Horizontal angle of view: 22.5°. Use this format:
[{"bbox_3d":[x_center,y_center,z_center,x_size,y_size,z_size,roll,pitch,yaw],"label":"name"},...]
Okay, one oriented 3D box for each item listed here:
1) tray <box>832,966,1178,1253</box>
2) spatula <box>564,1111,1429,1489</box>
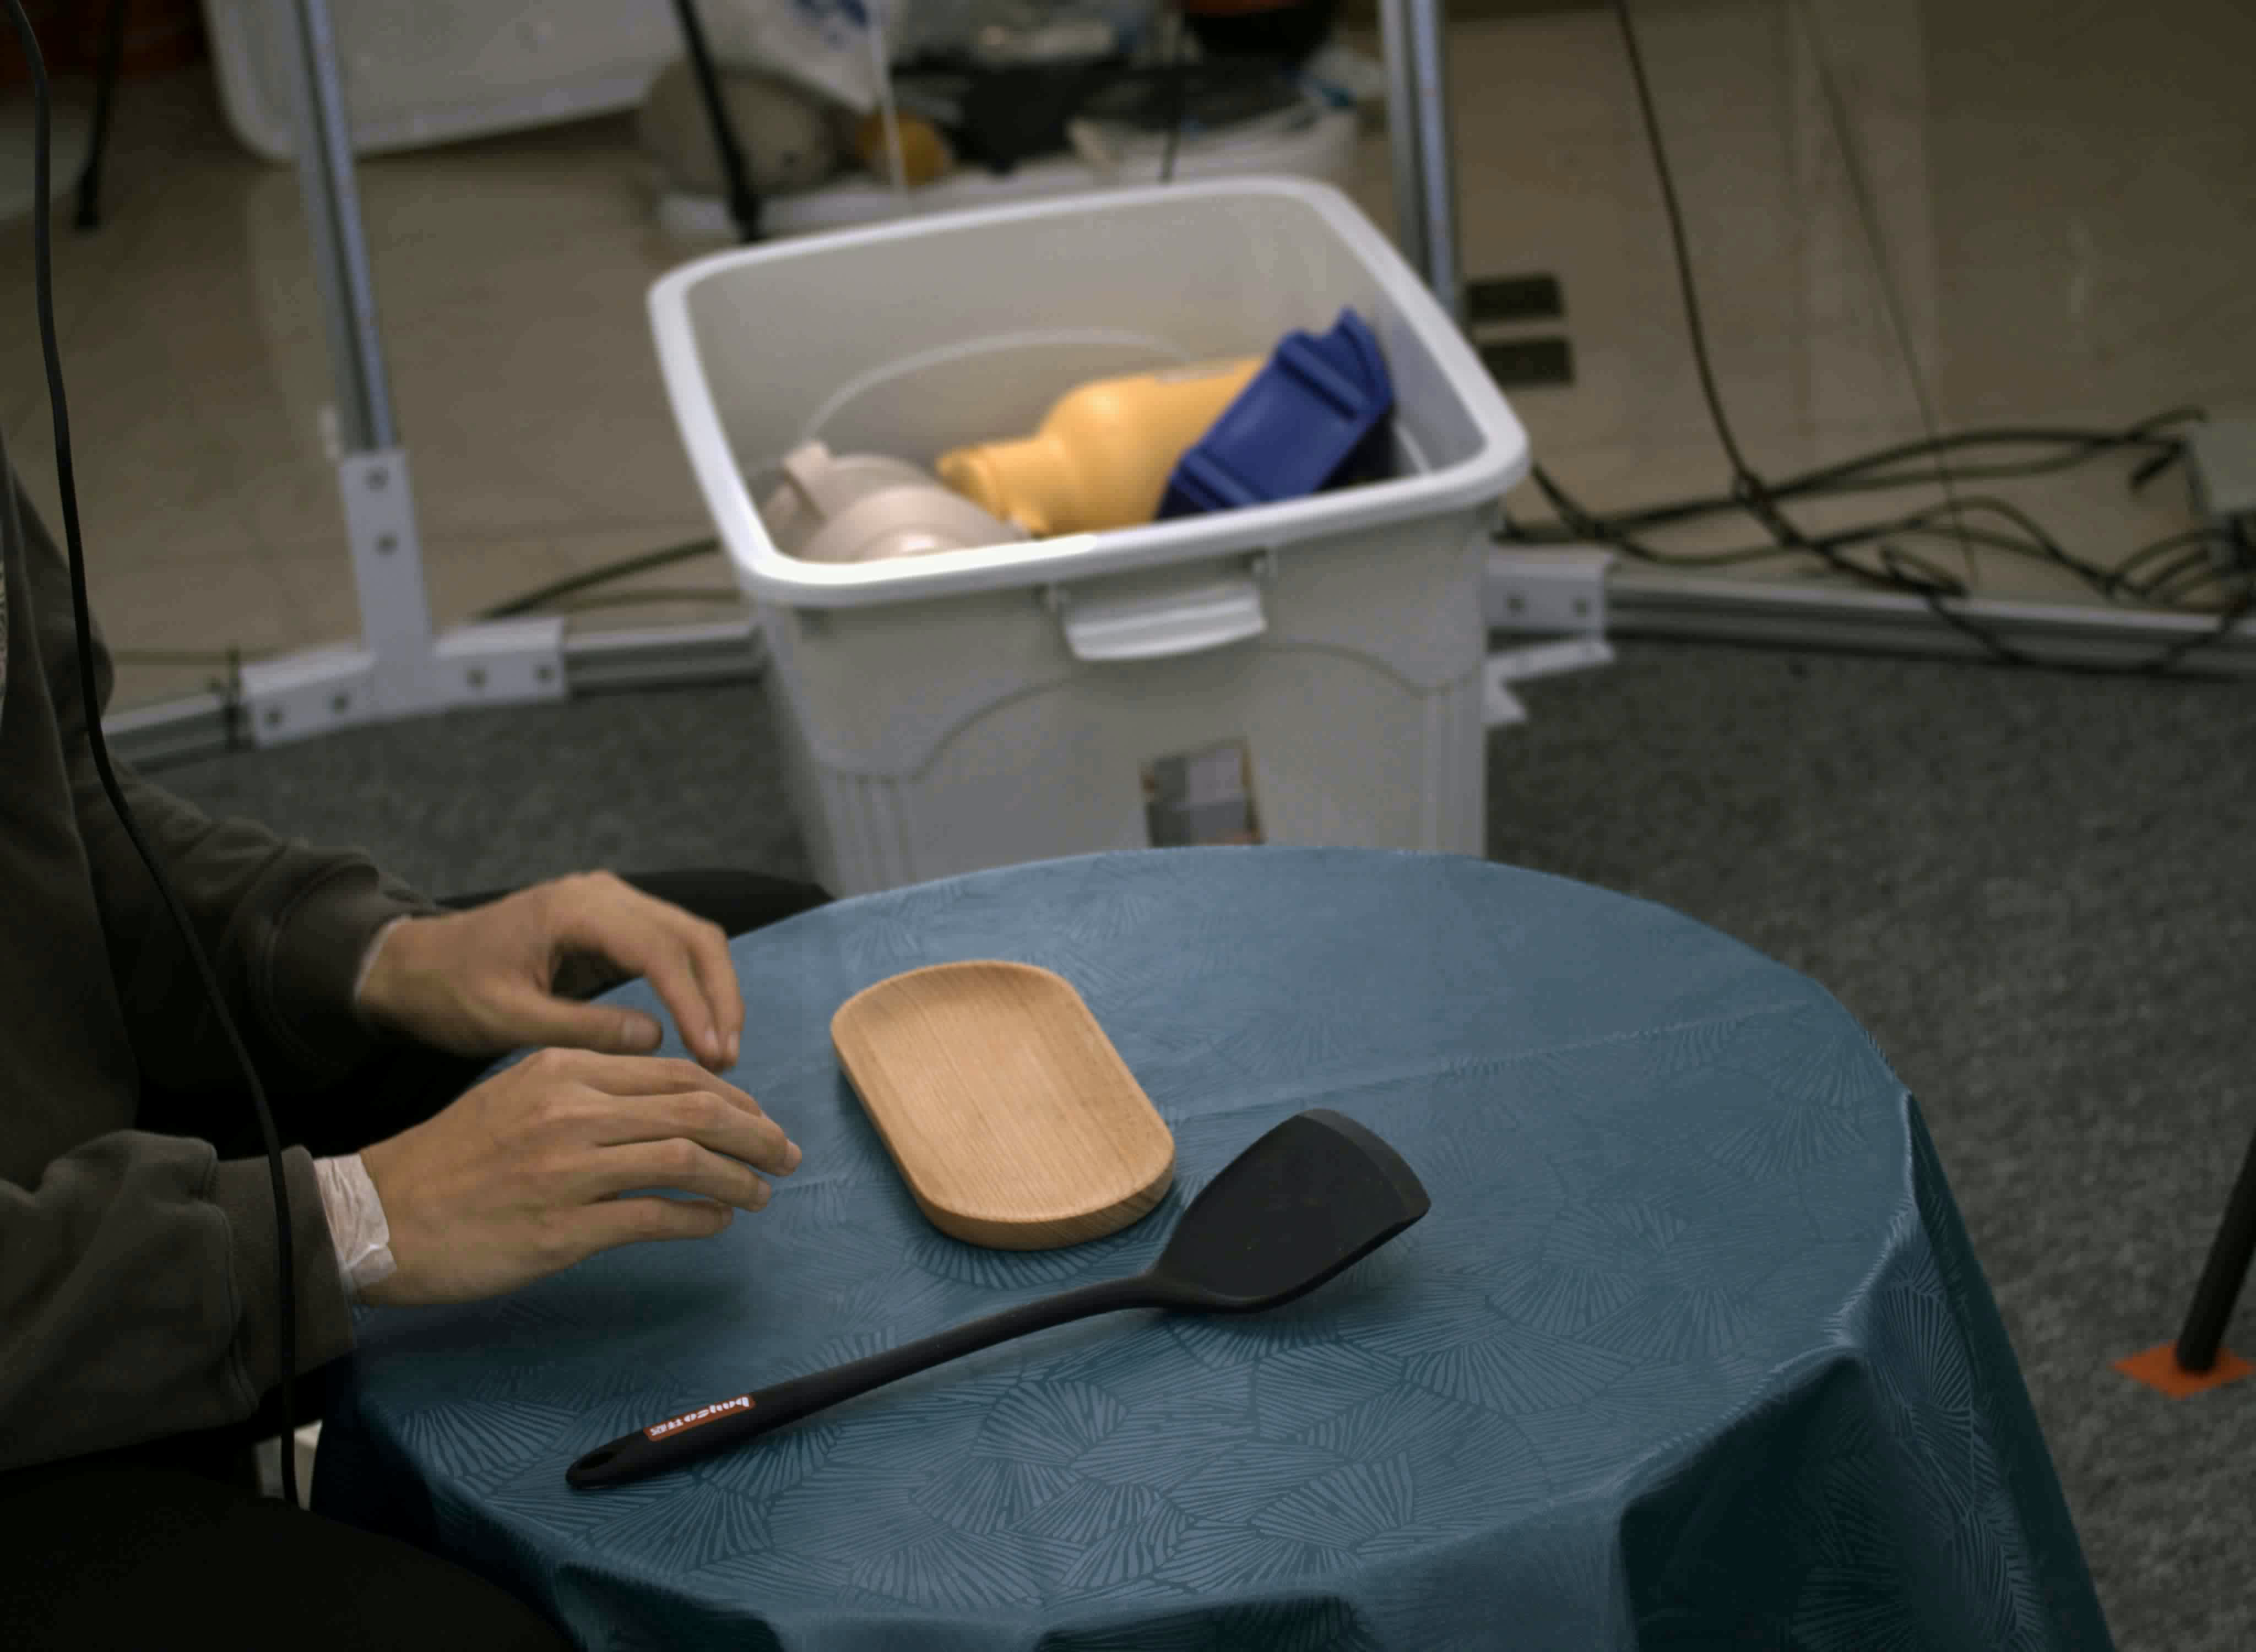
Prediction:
[{"bbox_3d":[-0.049,0.109,2.206,0.101,0.020,0.228,-13,27,-12],"label":"tray"},{"bbox_3d":[-0.050,0.176,2.036,0.325,0.041,0.098,-15,25,-18],"label":"spatula"}]
